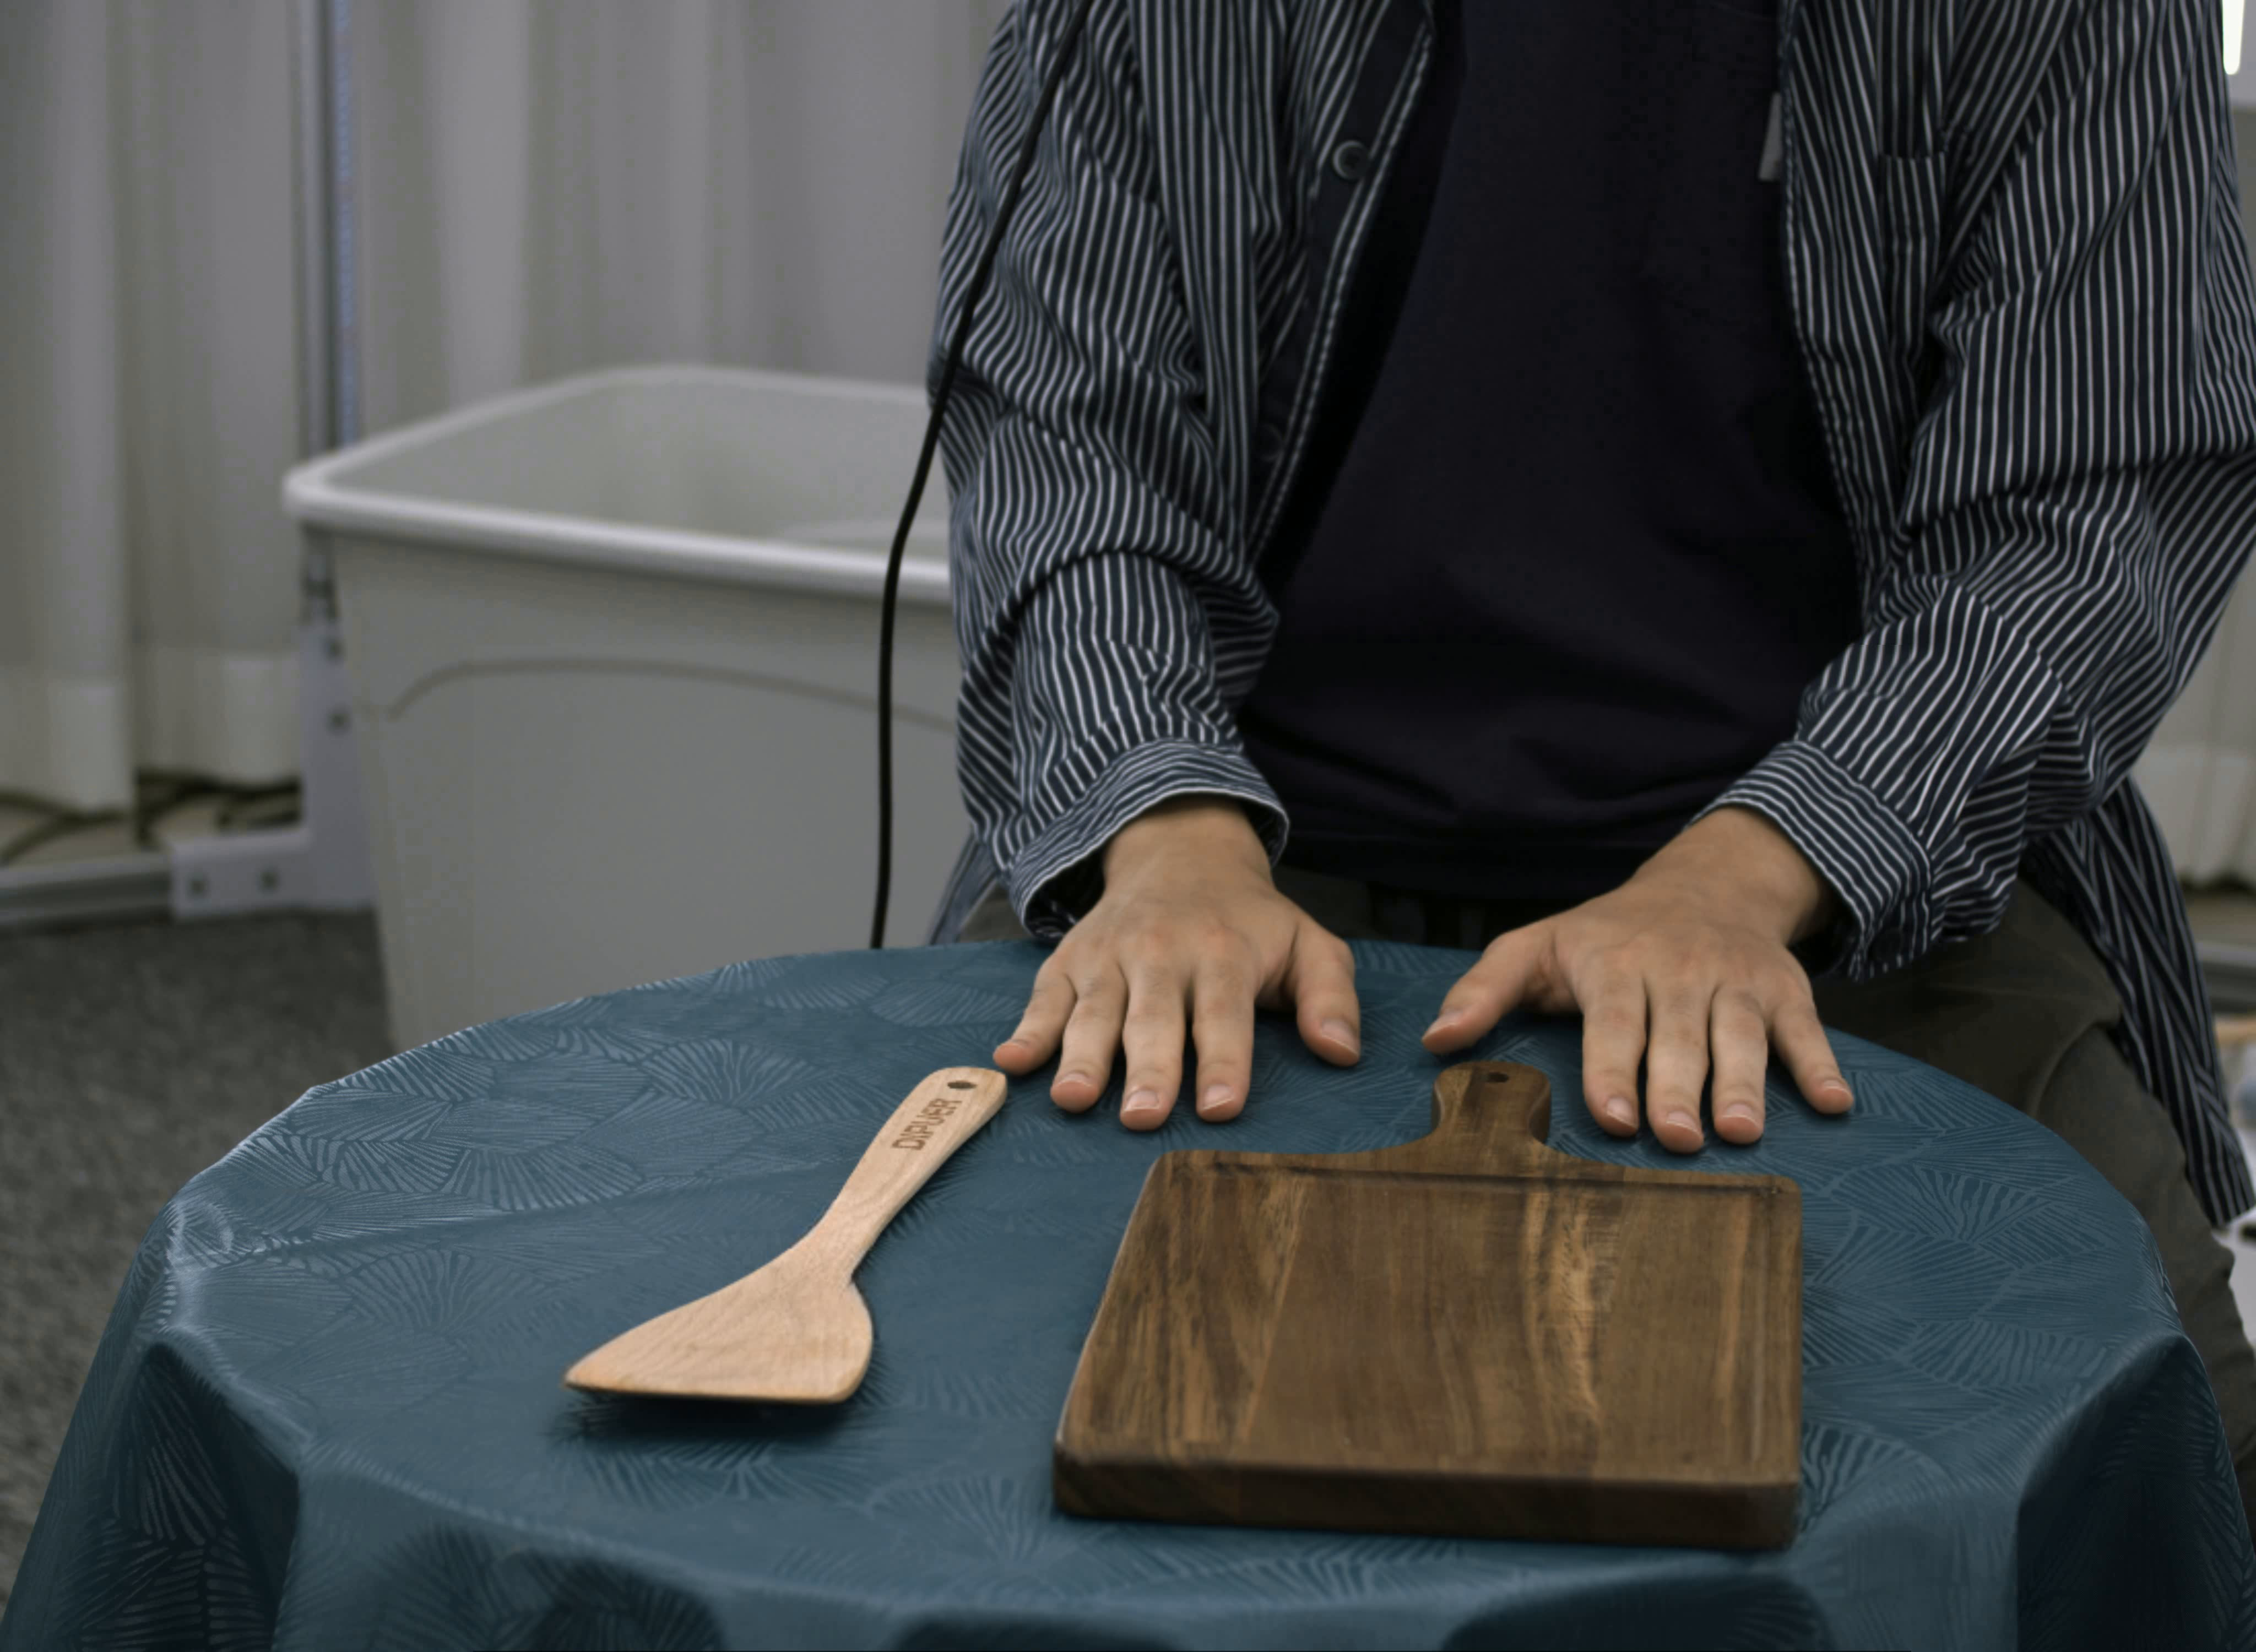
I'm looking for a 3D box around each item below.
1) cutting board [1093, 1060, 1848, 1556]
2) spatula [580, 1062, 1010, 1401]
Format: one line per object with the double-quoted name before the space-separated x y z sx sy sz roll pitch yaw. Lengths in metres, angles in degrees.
"cutting board" 0.109 0.130 1.527 0.200 0.023 0.351 3 15 7
"spatula" -0.081 0.118 1.576 0.079 0.016 0.327 4 16 11
